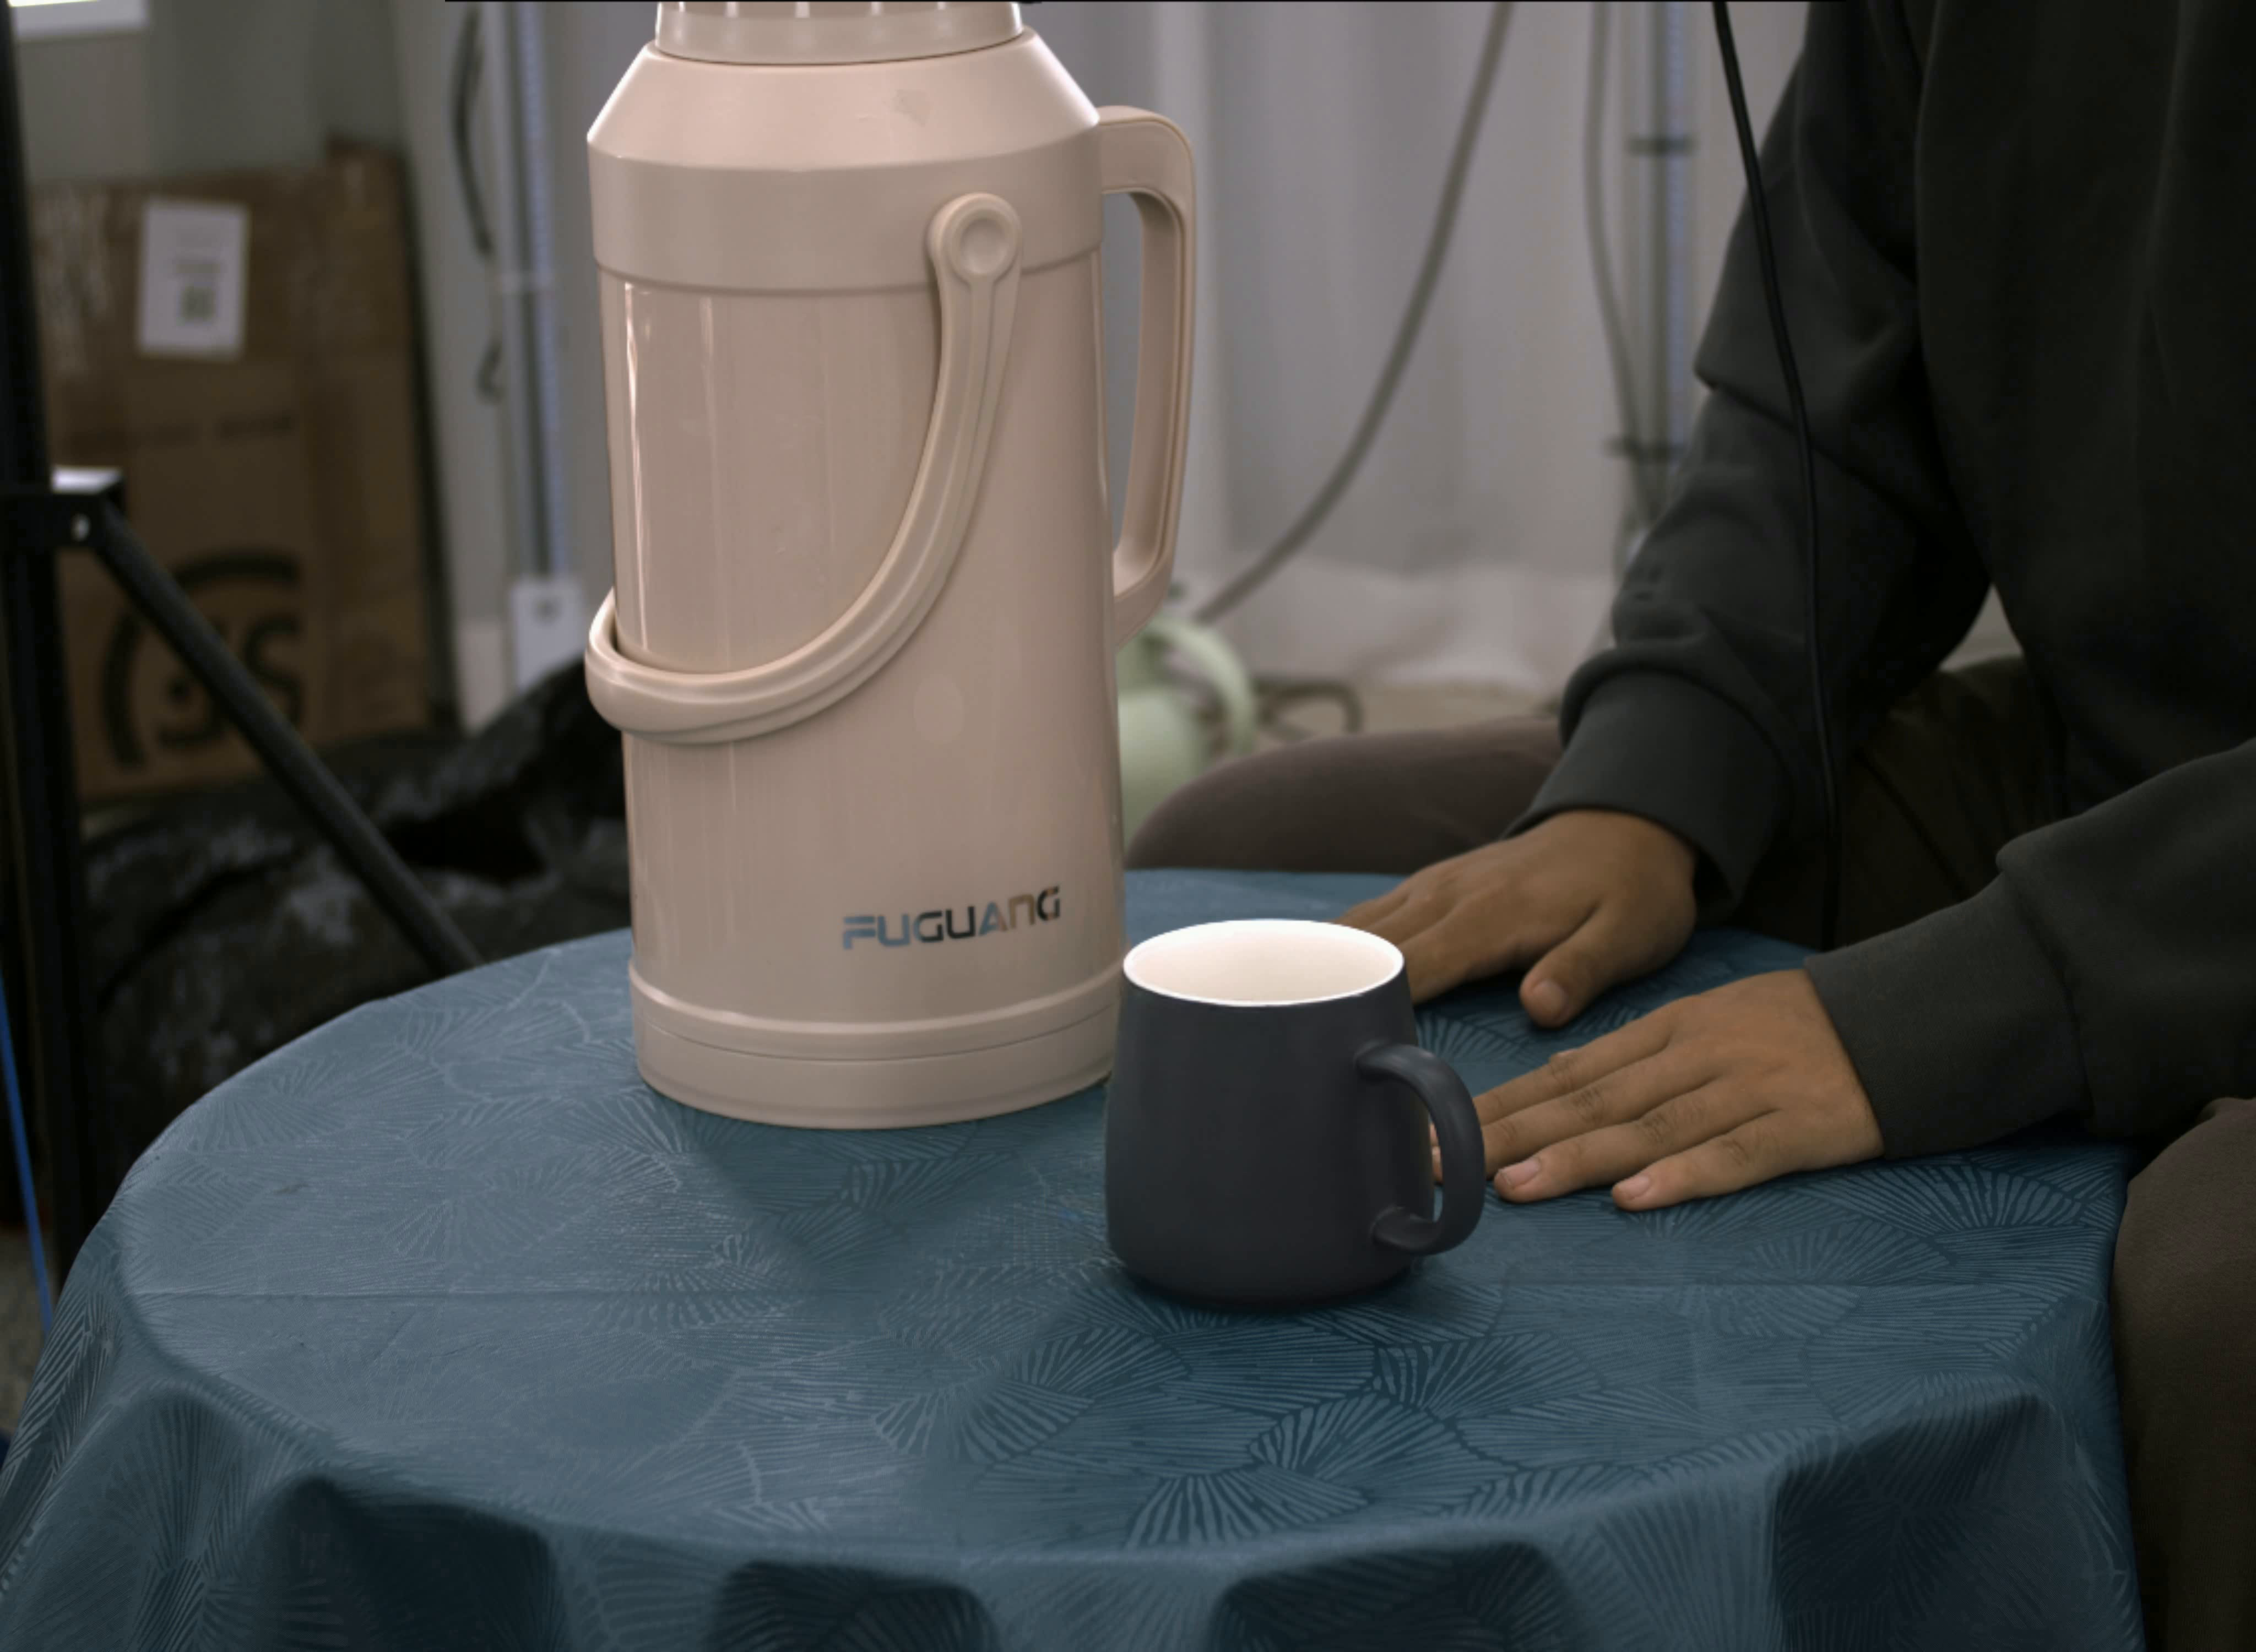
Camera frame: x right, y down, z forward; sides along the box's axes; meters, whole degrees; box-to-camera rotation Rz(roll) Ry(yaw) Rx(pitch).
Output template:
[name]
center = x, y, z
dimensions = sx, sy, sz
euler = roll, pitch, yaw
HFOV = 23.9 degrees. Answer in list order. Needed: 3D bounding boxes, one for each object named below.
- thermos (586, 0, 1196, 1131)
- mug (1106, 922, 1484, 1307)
[thermos]
center = -0.070, -0.122, 1.652
dimensions = 0.202, 0.406, 0.179
euler = -10, 17, -27
[mug]
center = 0.050, 0.083, 1.471
dimensions = 0.091, 0.090, 0.126
euler = -15, 20, -40
